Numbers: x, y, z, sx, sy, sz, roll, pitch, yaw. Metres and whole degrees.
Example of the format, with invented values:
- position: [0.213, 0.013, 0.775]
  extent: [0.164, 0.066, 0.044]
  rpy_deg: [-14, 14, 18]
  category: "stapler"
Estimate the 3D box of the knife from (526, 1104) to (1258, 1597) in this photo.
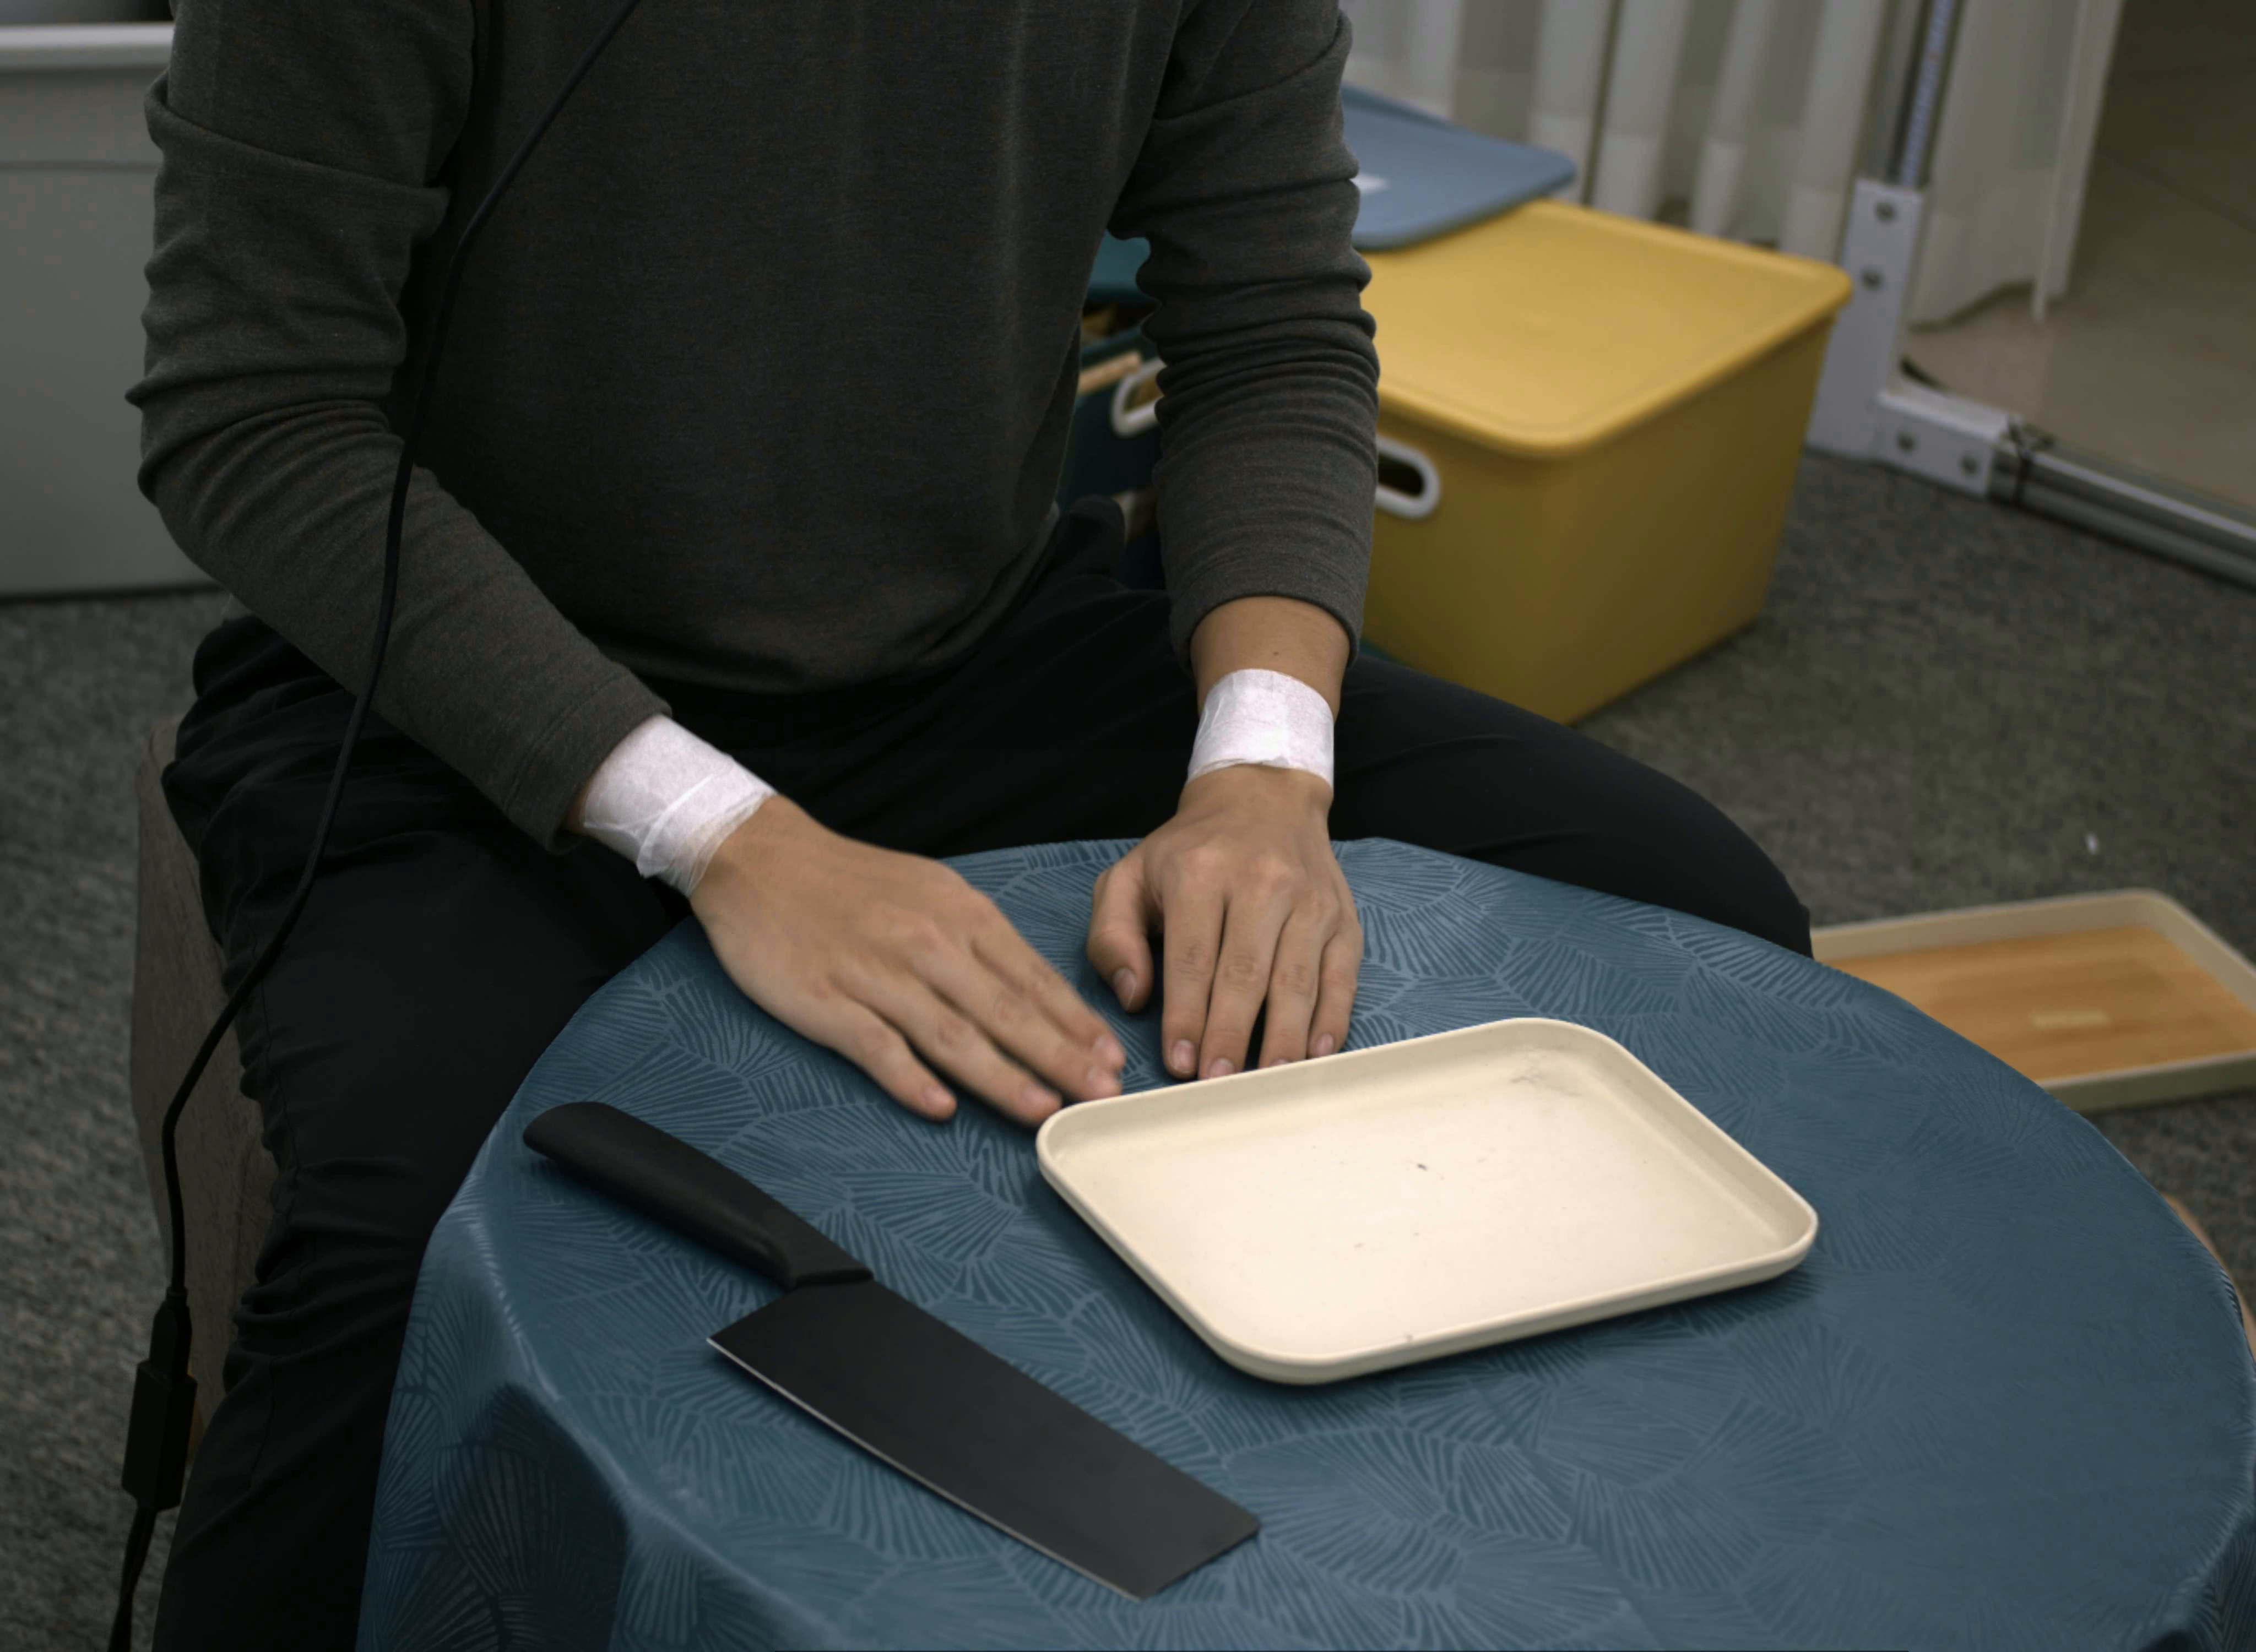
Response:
- position: [-0.087, 0.163, 1.693]
  extent: [0.080, 0.021, 0.305]
  rpy_deg: [-20, 39, -40]
  category: "knife"

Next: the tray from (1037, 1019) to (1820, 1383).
- position: [0.101, 0.126, 1.804]
  extent: [0.238, 0.017, 0.173]
  rpy_deg: [-10, 30, -29]
  category: "tray"
